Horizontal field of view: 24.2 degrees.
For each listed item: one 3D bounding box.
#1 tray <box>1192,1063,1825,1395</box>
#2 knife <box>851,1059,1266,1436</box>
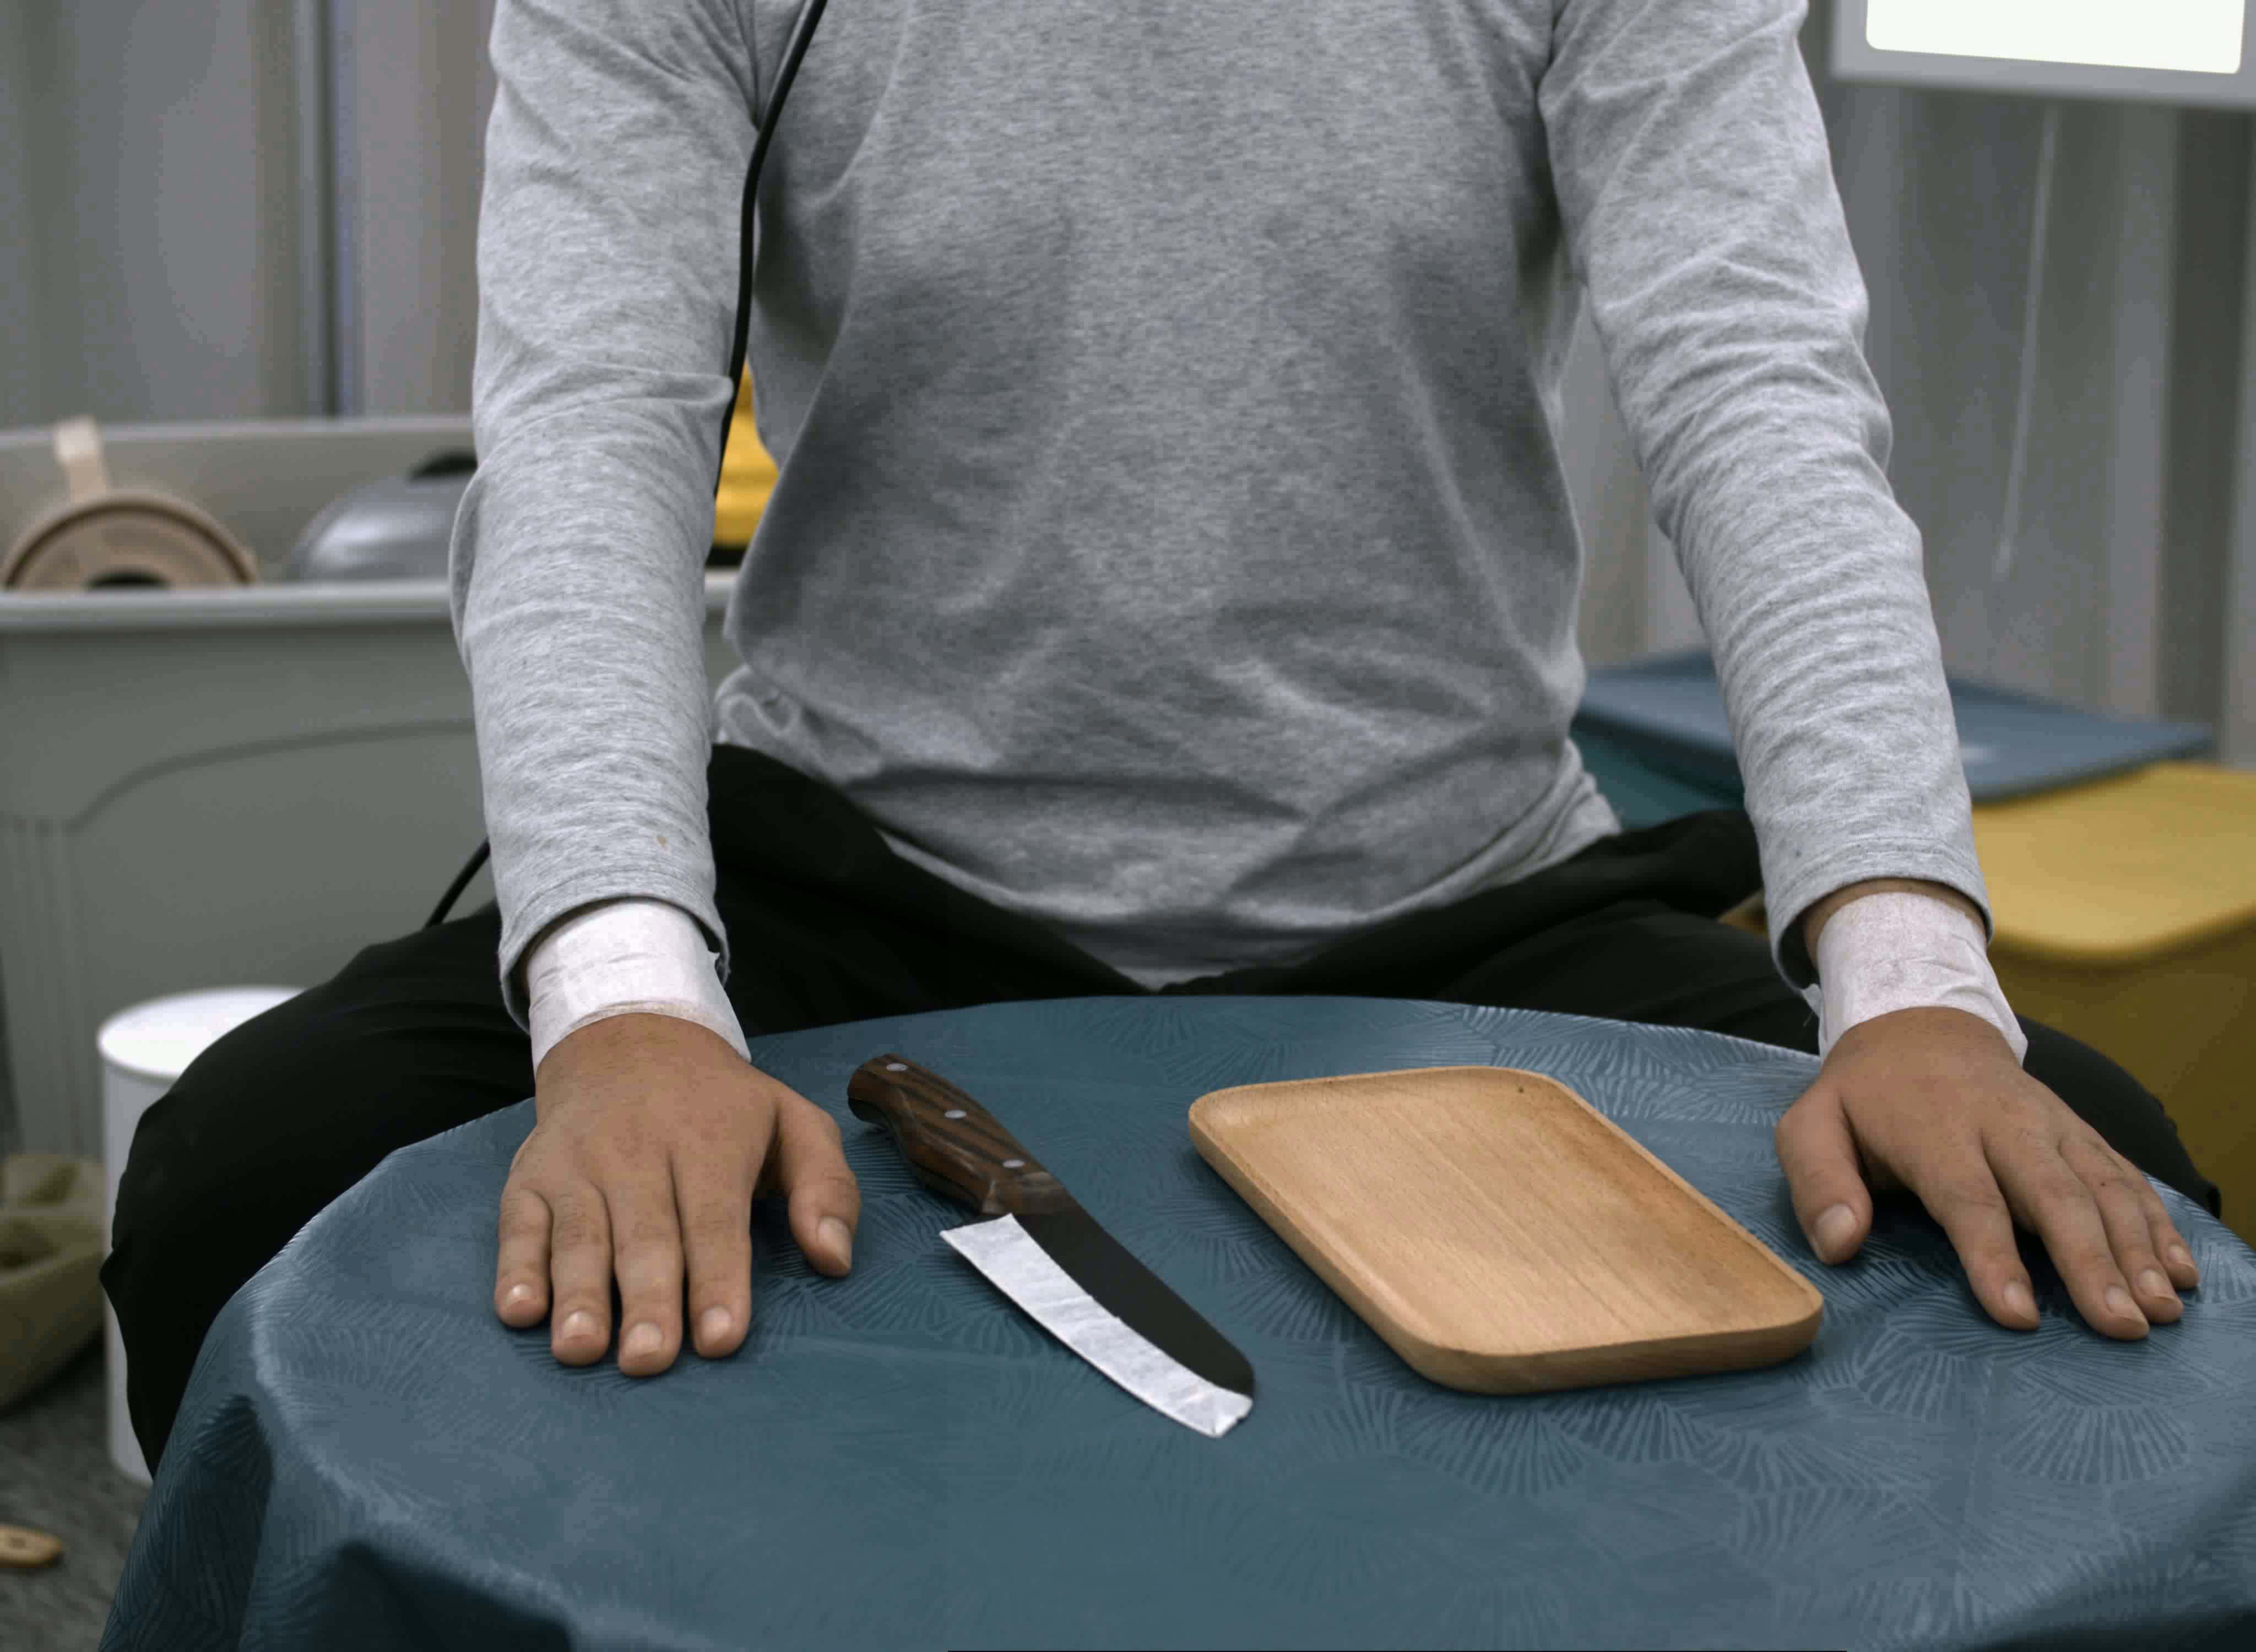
[{"bbox_3d":[0.109,0.118,1.580,0.131,0.023,0.248,-2,15,-16],"label":"tray"},{"bbox_3d":[-0.025,0.124,1.556,0.050,0.020,0.285,-11,21,-20],"label":"knife"}]
